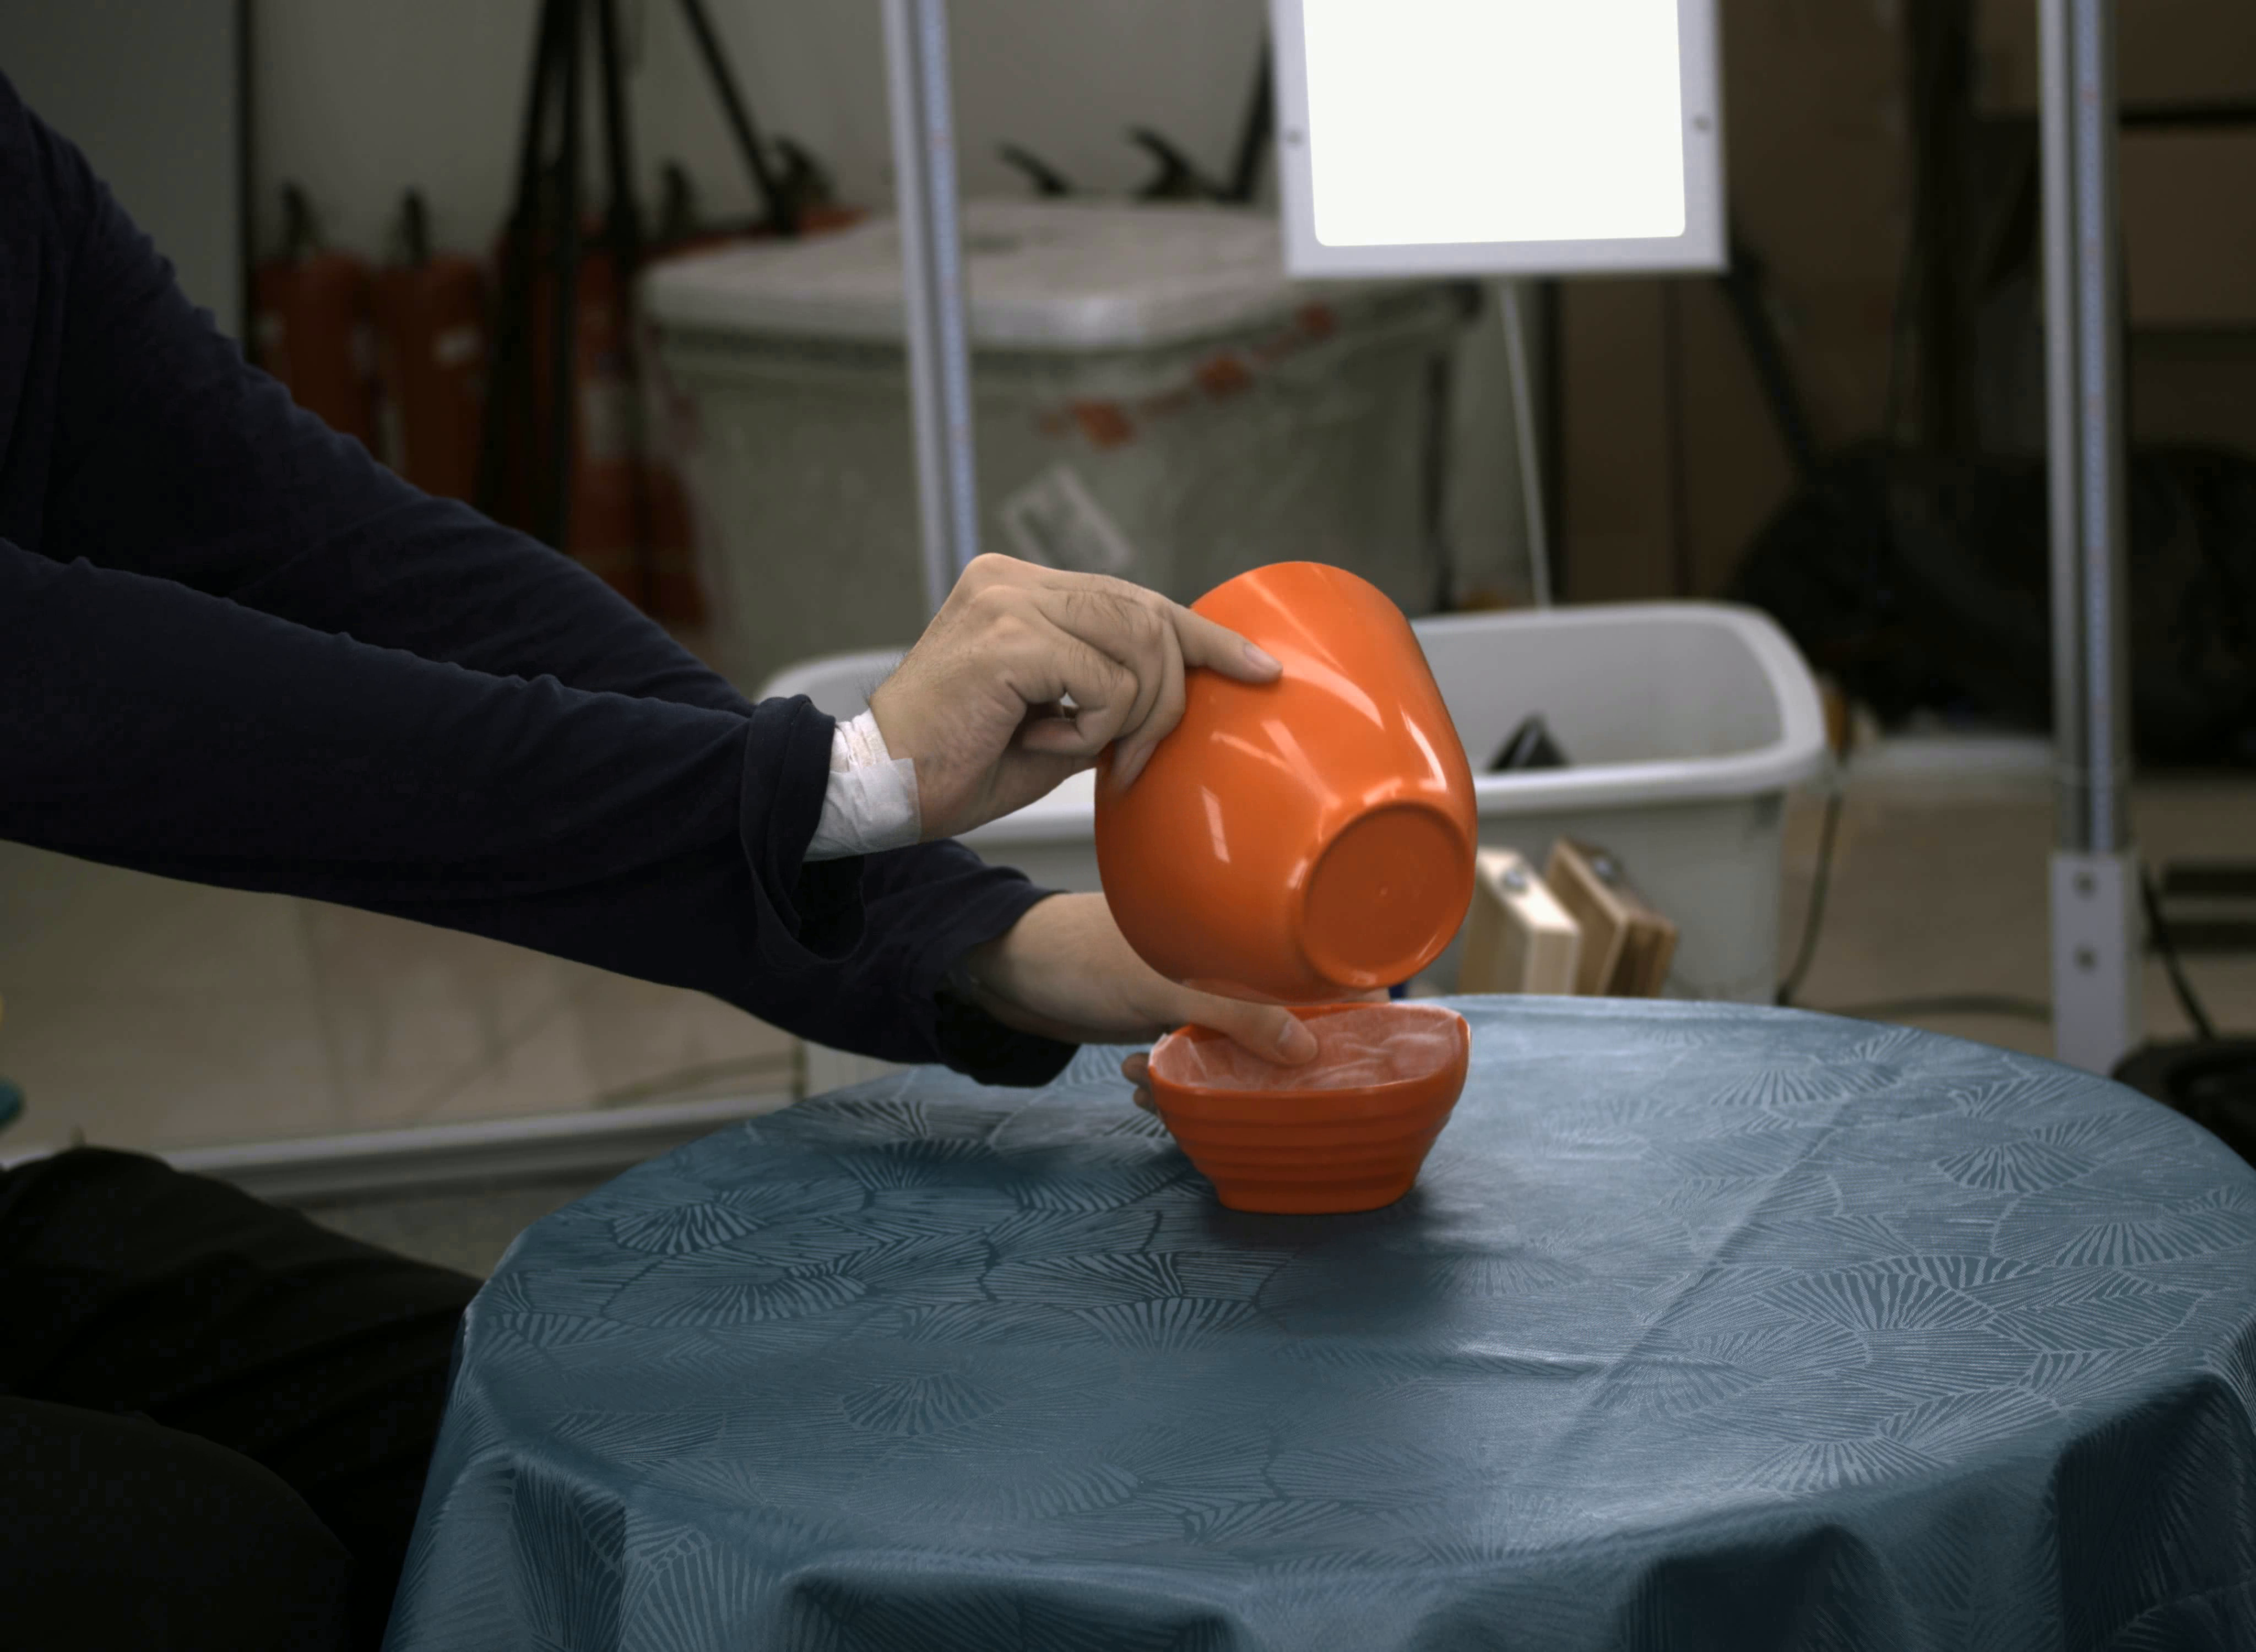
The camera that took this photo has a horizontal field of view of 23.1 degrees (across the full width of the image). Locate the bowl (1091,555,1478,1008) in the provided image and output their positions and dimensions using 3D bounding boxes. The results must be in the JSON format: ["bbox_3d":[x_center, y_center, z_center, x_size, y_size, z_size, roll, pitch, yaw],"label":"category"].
[{"bbox_3d":[0.067,-0.003,1.795,0.145,0.149,0.106,-11,28,-25],"label":"bowl"}]

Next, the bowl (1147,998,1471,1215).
[{"bbox_3d":[0.064,0.099,1.887,0.118,0.051,0.119,-5,15,0],"label":"bowl"}]
